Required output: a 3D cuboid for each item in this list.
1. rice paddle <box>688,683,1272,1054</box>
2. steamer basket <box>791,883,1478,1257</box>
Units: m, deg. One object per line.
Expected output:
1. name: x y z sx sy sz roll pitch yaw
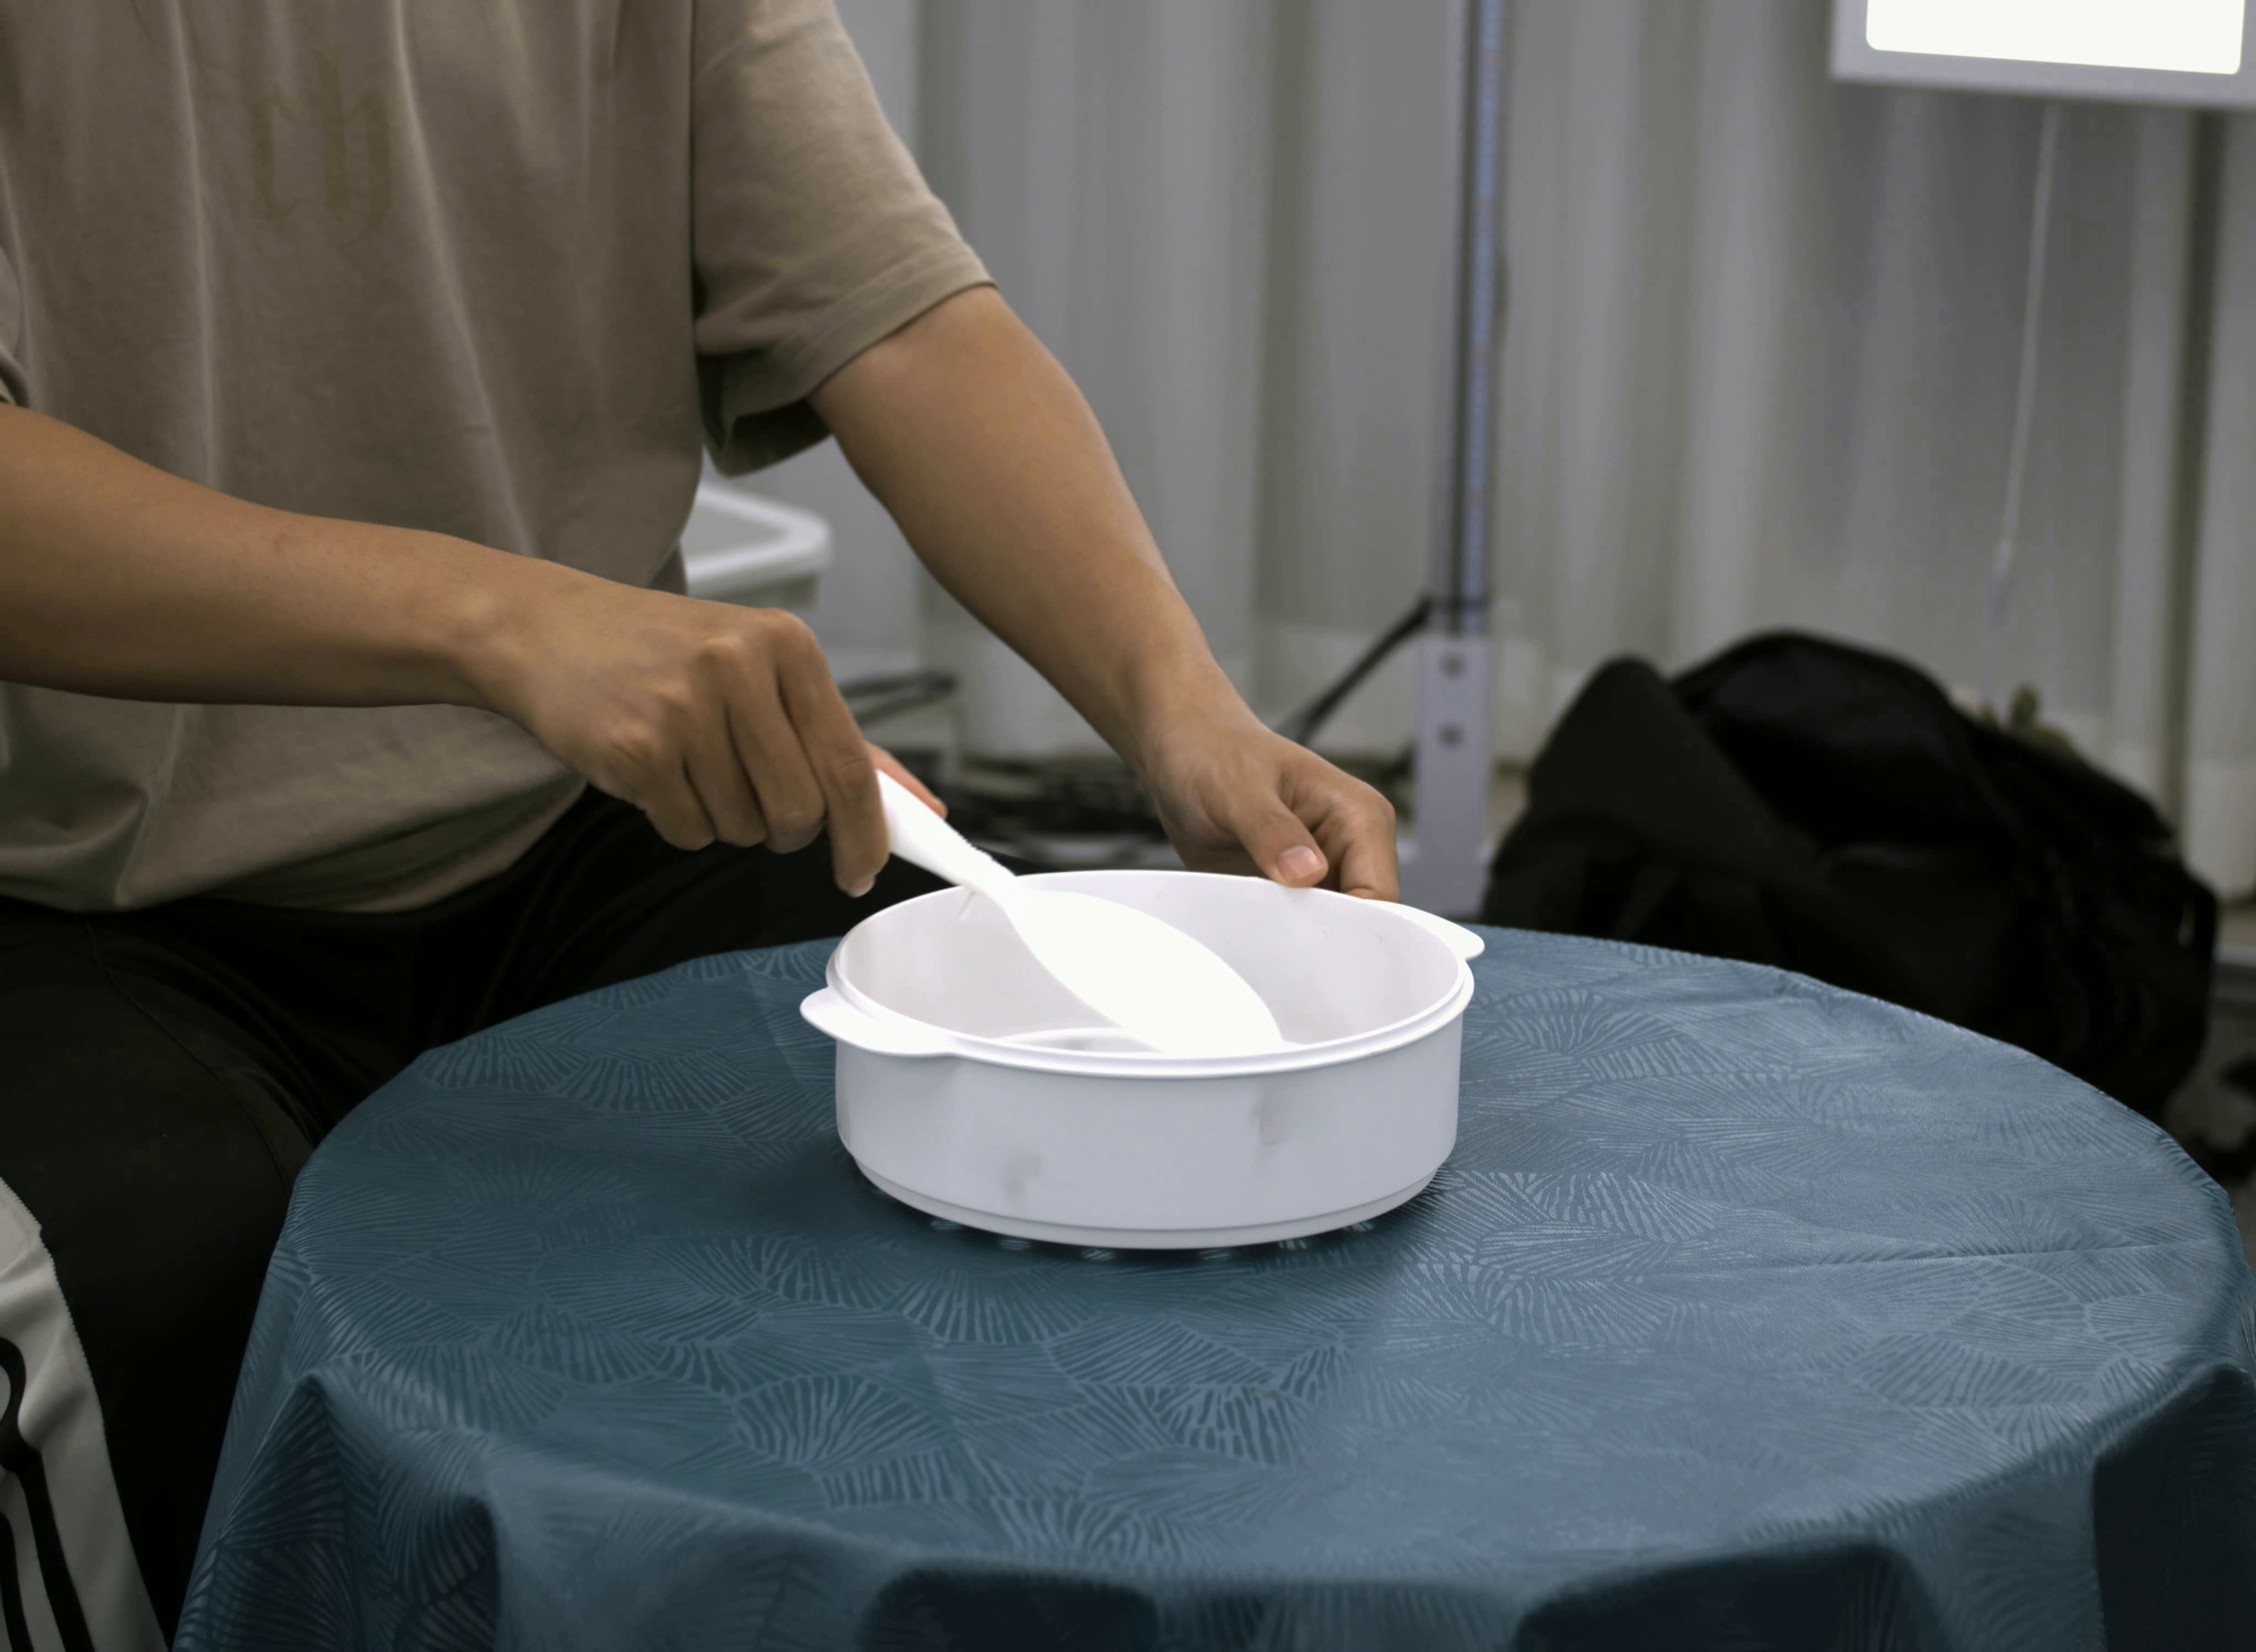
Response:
1. rice paddle: -0.041 0.020 1.635 0.205 0.029 0.068 31 30 -5
2. steamer basket: 0.003 0.076 1.638 0.232 0.070 0.199 -6 17 -32
